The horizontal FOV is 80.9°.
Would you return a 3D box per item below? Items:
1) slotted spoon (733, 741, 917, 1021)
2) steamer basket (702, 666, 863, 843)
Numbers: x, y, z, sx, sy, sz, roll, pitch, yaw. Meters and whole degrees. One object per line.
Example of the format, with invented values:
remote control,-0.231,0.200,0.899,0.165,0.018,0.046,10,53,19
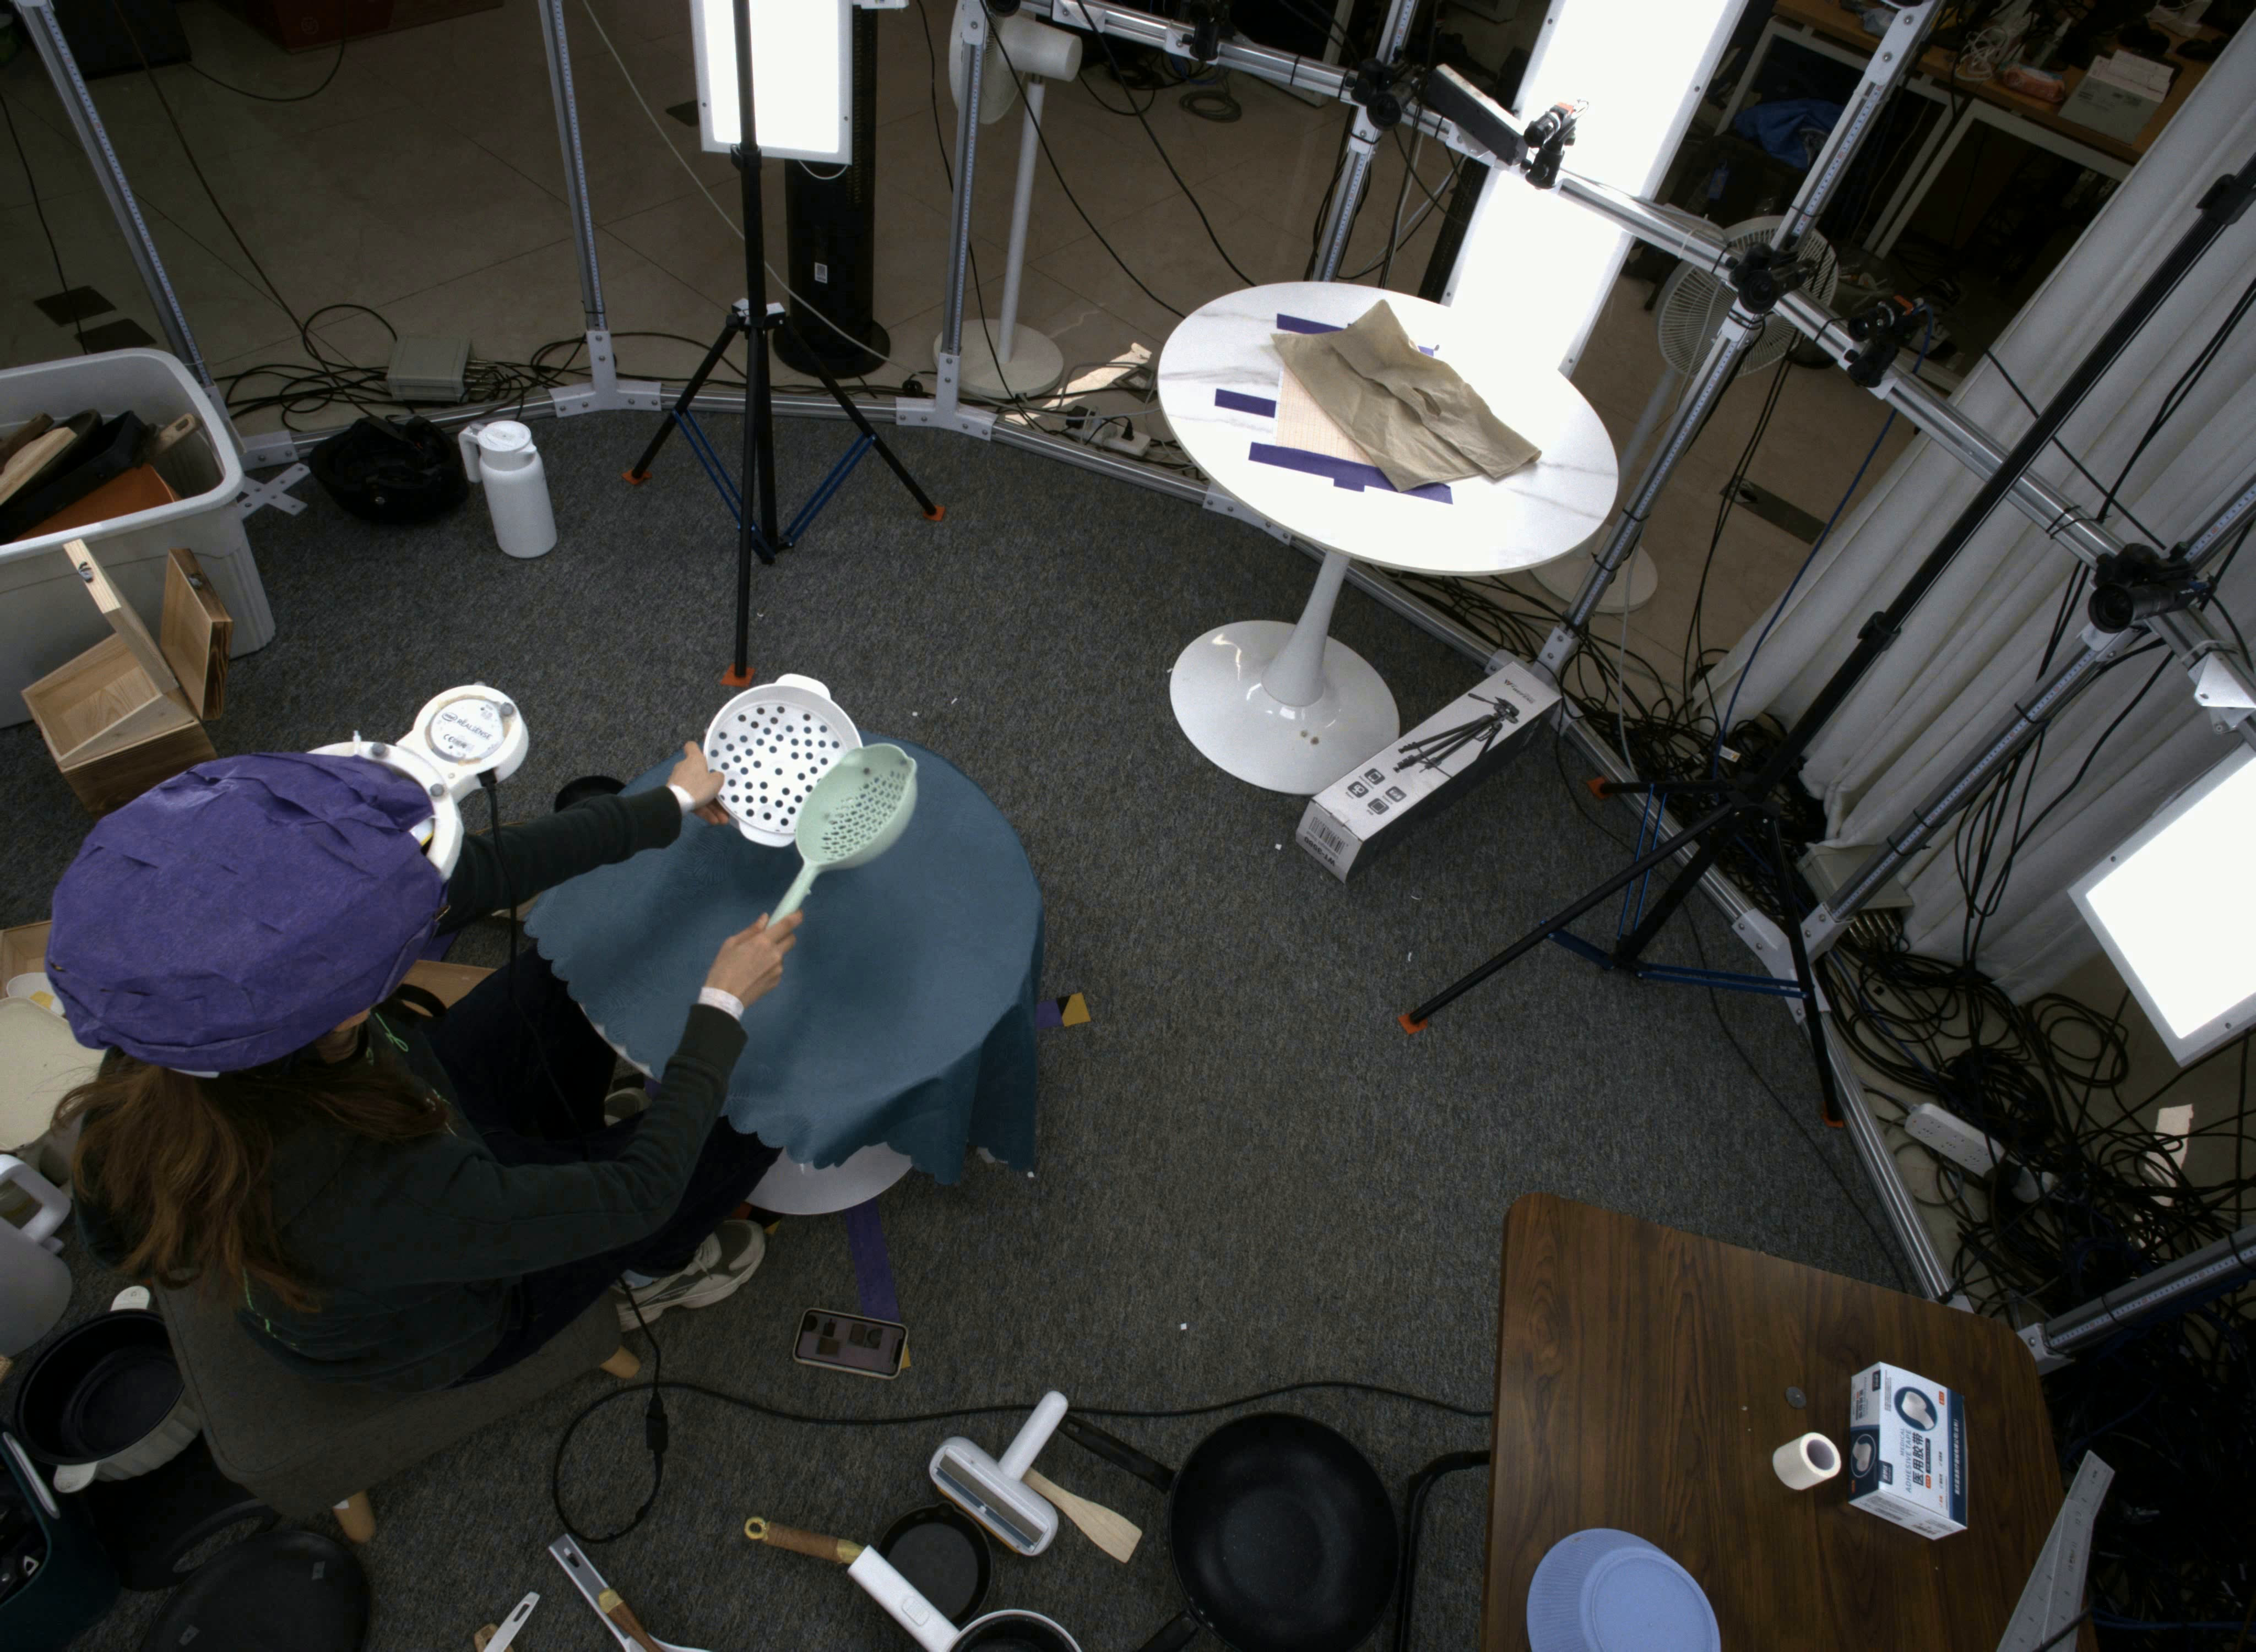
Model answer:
slotted spoon,-0.363,0.058,1.504,0.163,0.078,0.358,14,59,41
steamer basket,-0.444,-0.086,1.662,0.204,0.068,0.230,14,73,-20
